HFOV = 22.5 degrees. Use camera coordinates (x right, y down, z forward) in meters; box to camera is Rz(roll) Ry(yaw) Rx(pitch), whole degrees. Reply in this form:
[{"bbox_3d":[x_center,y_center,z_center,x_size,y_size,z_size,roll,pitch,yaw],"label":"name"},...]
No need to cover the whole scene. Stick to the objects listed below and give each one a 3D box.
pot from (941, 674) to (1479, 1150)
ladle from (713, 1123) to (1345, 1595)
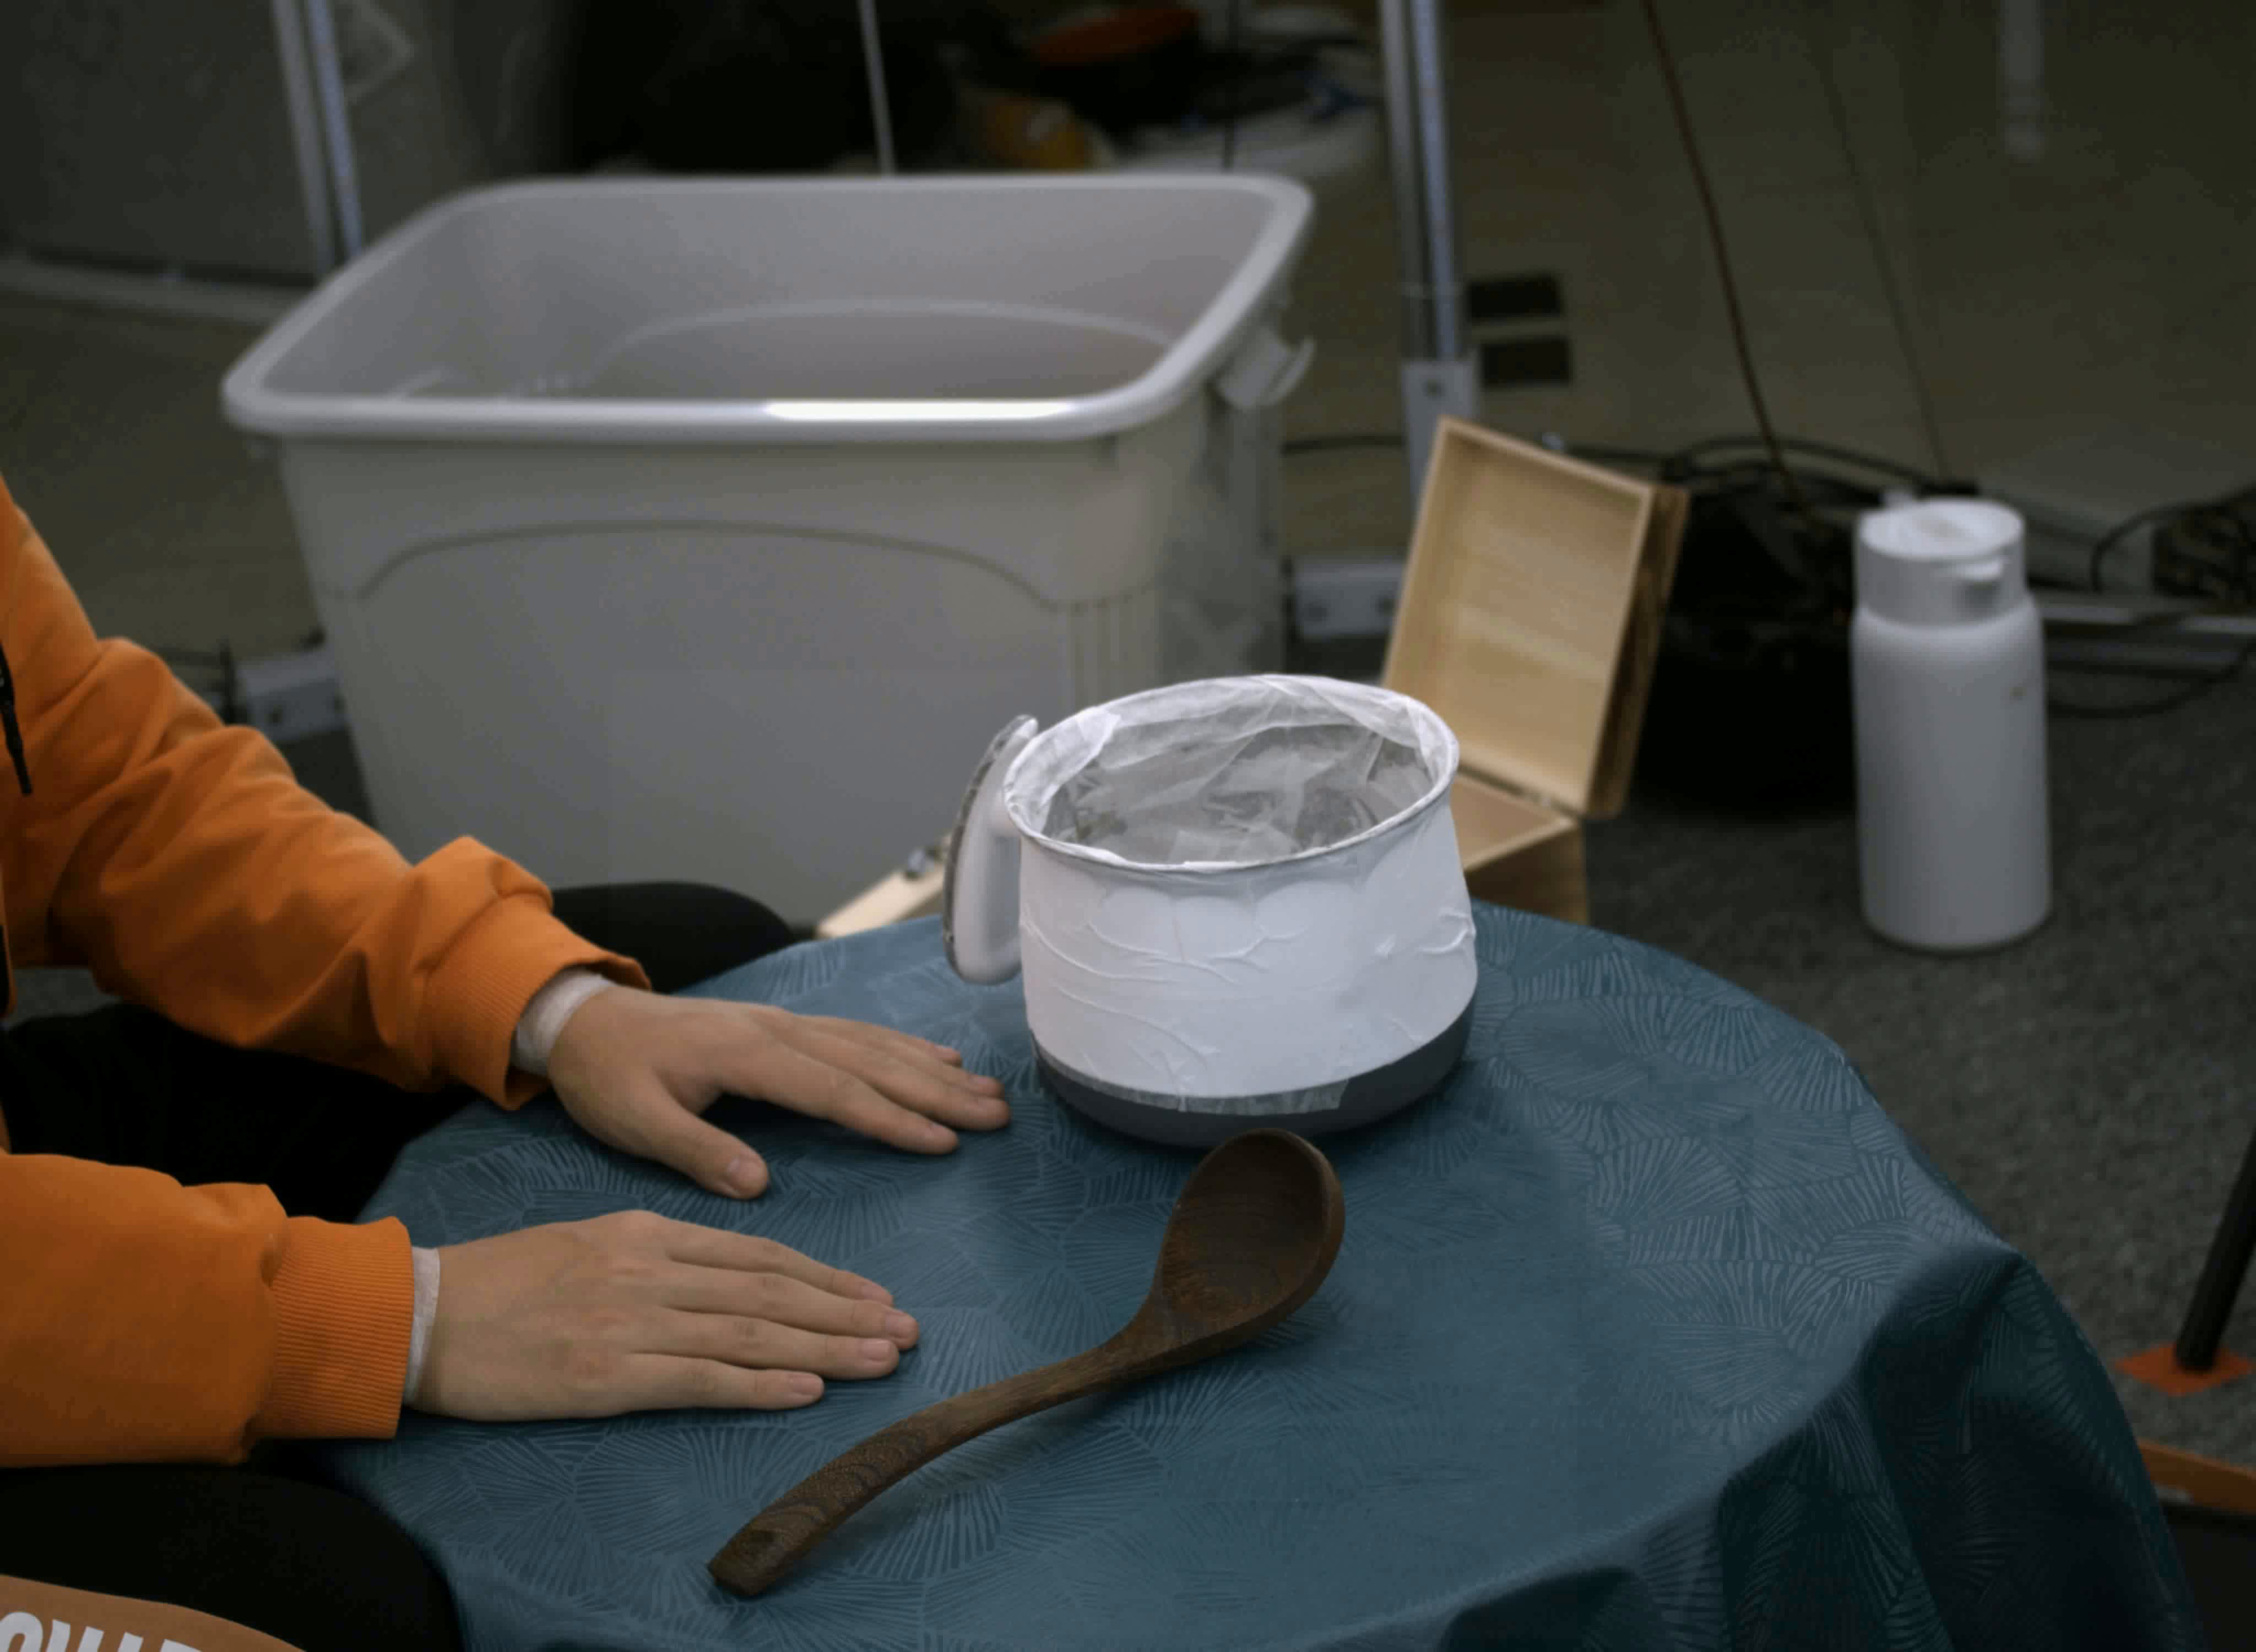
[{"bbox_3d":[0.023,0.031,2.209,0.232,0.139,0.177,11,30,33],"label":"pot"},{"bbox_3d":[-0.036,0.182,1.981,0.272,0.072,0.075,-23,26,-33],"label":"ladle"}]
